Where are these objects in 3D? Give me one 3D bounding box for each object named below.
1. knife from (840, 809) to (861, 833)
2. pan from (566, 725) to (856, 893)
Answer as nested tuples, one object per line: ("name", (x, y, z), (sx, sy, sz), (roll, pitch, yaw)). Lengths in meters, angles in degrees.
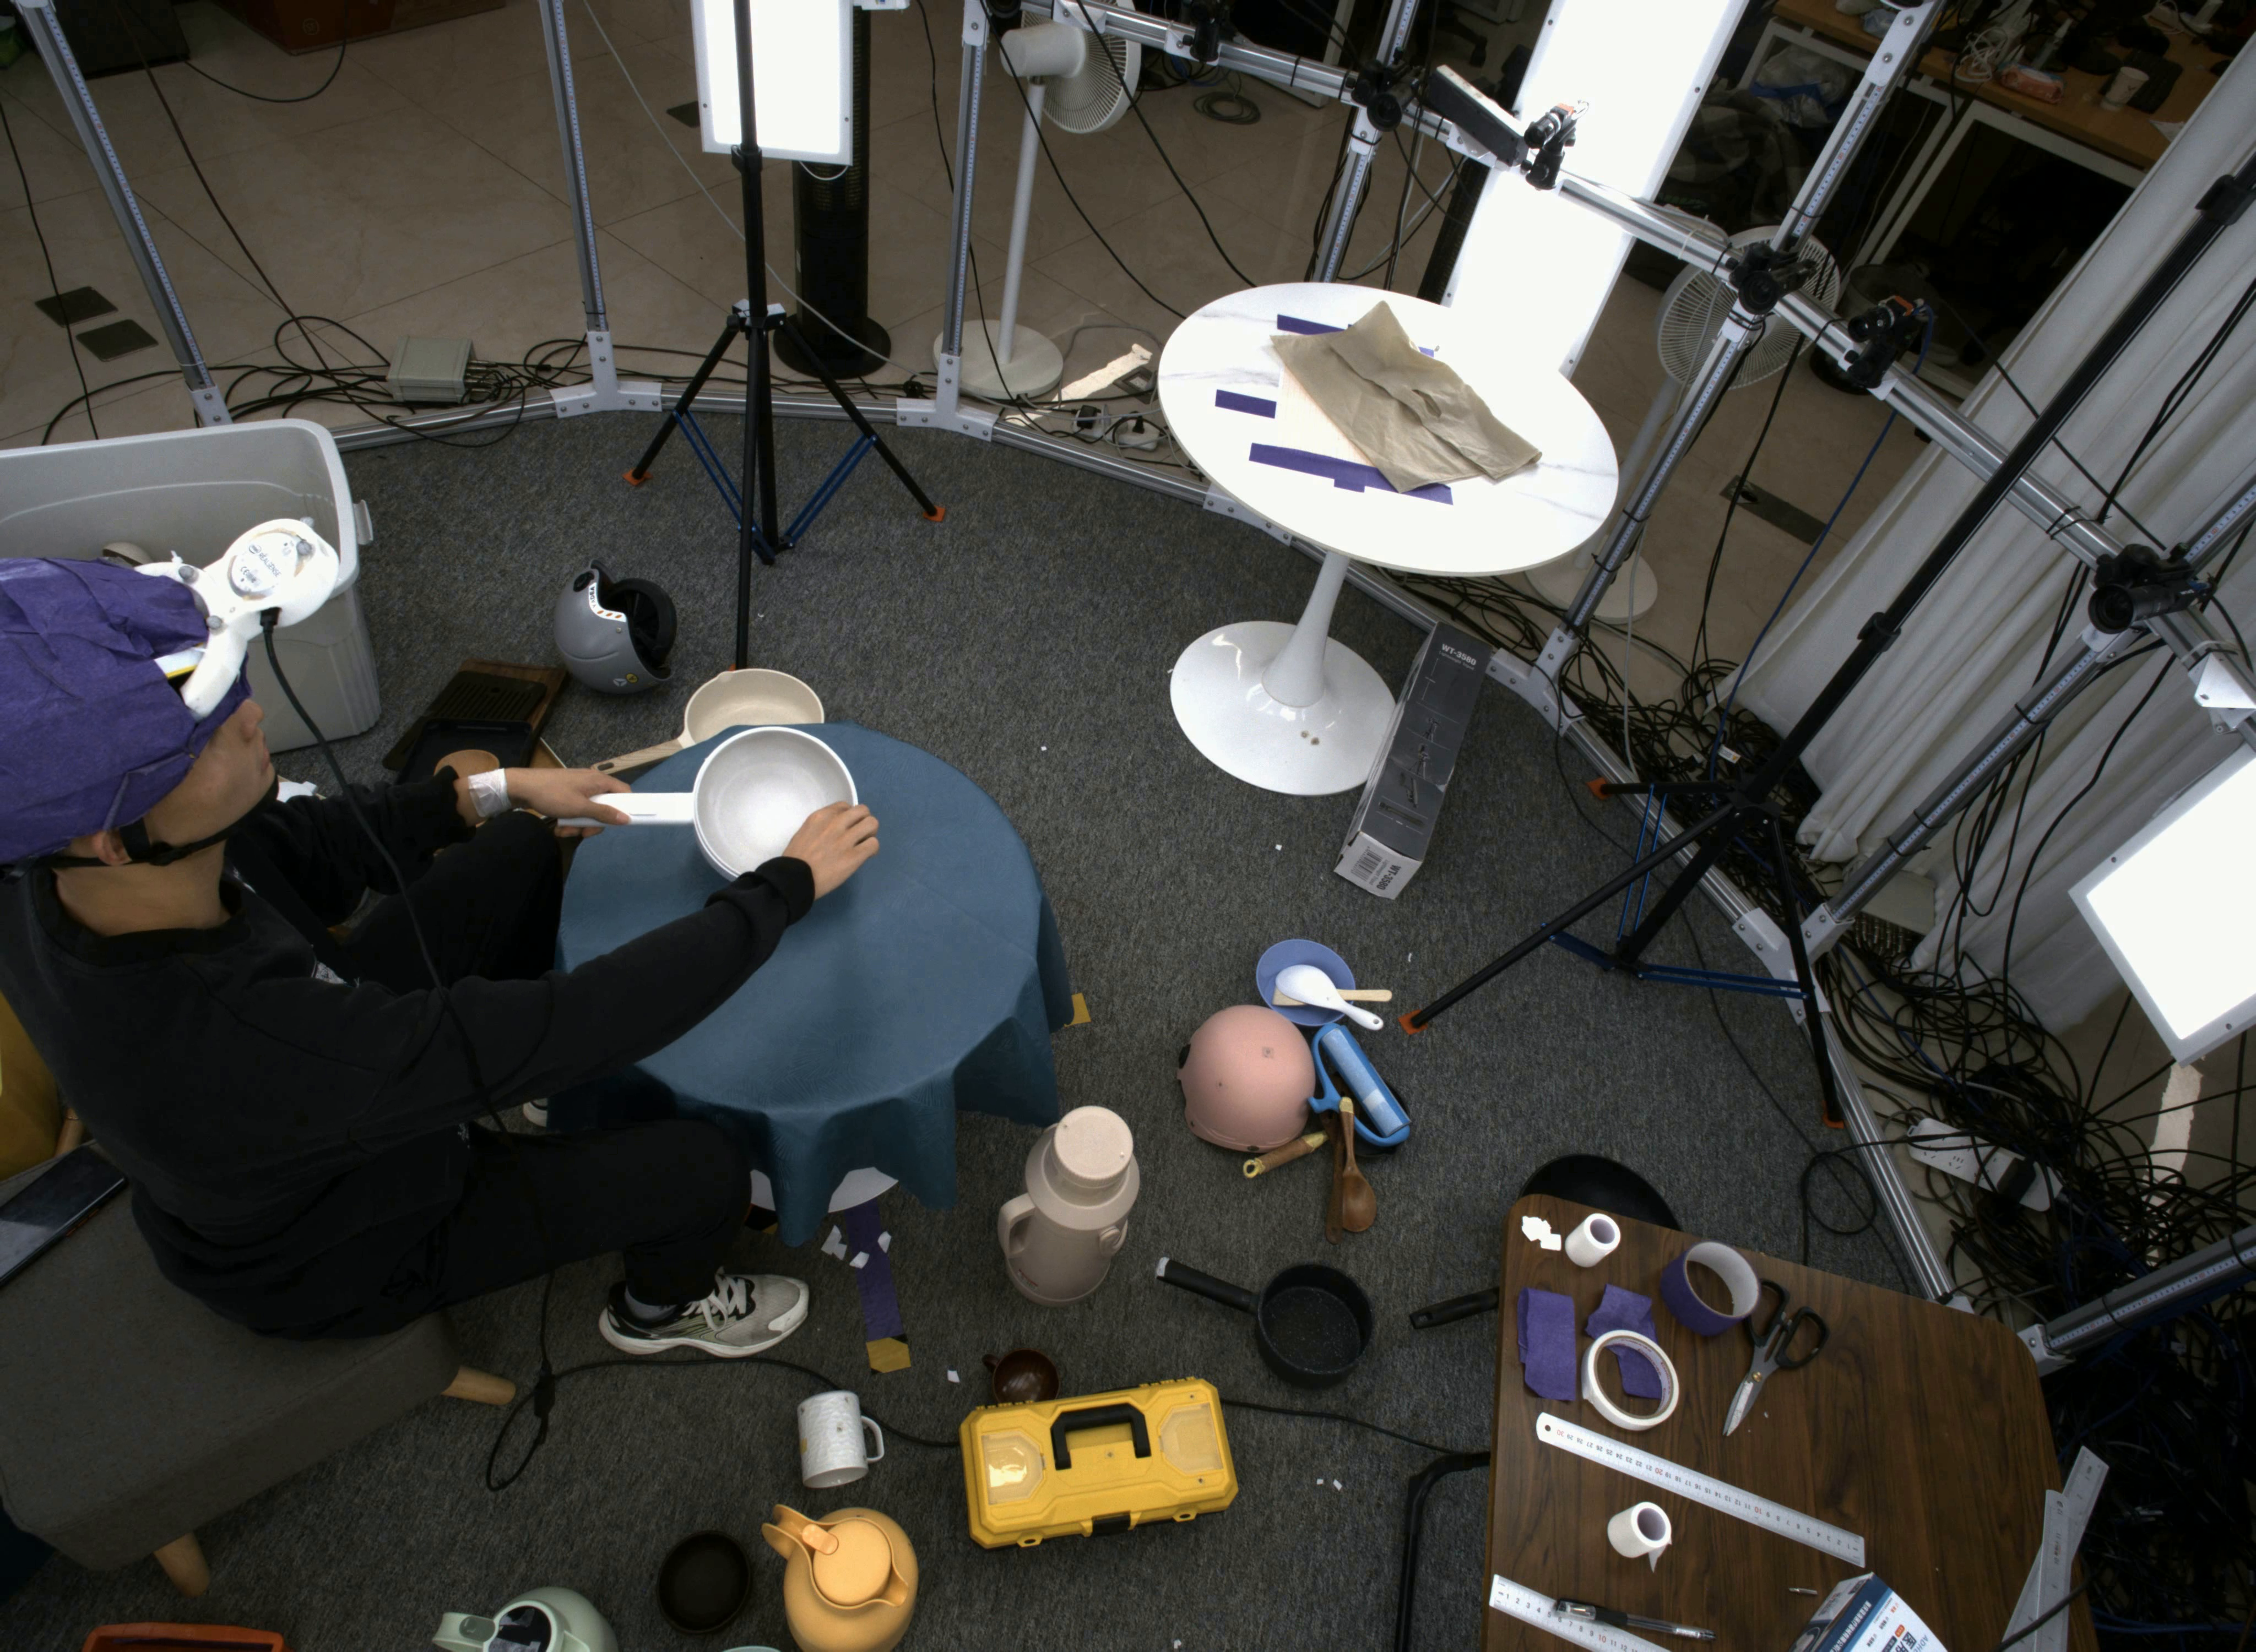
("knife", (-0.335, -0.010, 1.558), (0.017, 0.221, 0.027), (-38, 103, -9))
("pan", (-0.521, -0.016, 1.599), (0.358, 0.100, 0.202), (-2, 83, -23))
